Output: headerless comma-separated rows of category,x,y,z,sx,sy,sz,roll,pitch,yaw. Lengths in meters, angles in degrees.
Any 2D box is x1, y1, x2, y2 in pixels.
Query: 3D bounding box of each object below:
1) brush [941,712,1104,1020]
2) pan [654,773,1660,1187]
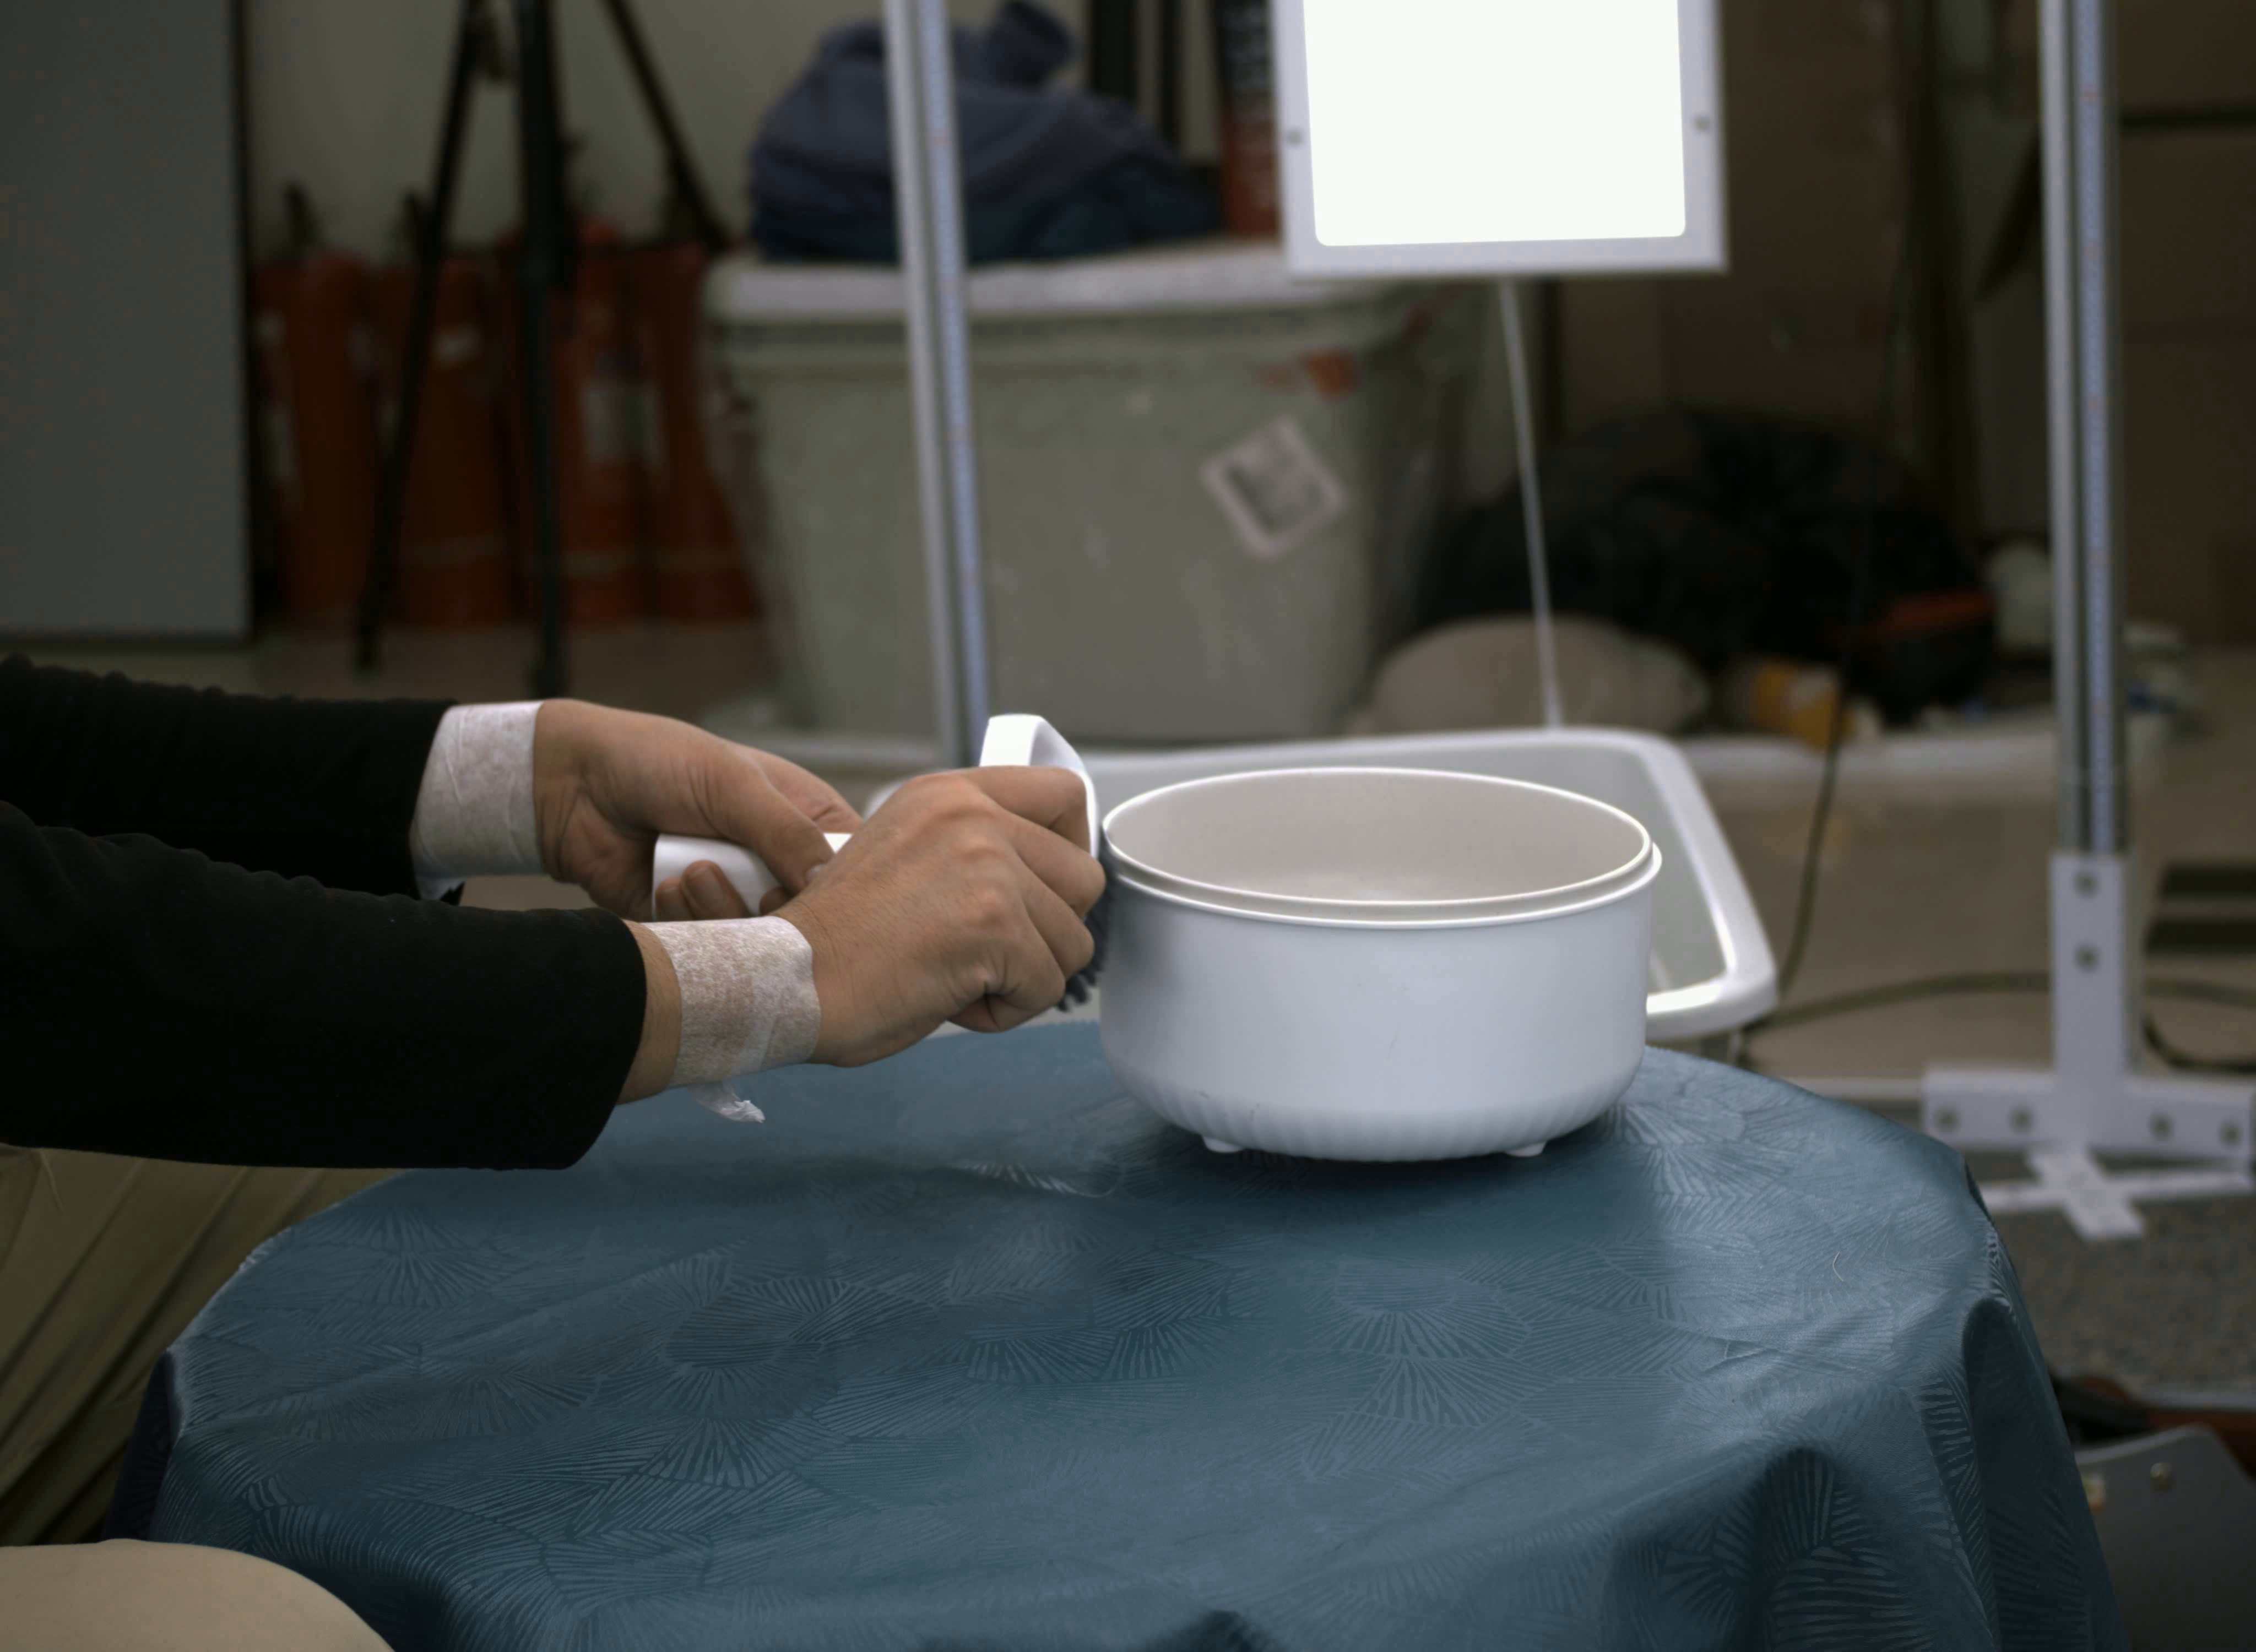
brush,-0.038,0.006,1.860,0.050,0.072,0.098,-1,47,9
pan,0.010,0.057,1.947,0.354,0.102,0.200,-1,17,2
